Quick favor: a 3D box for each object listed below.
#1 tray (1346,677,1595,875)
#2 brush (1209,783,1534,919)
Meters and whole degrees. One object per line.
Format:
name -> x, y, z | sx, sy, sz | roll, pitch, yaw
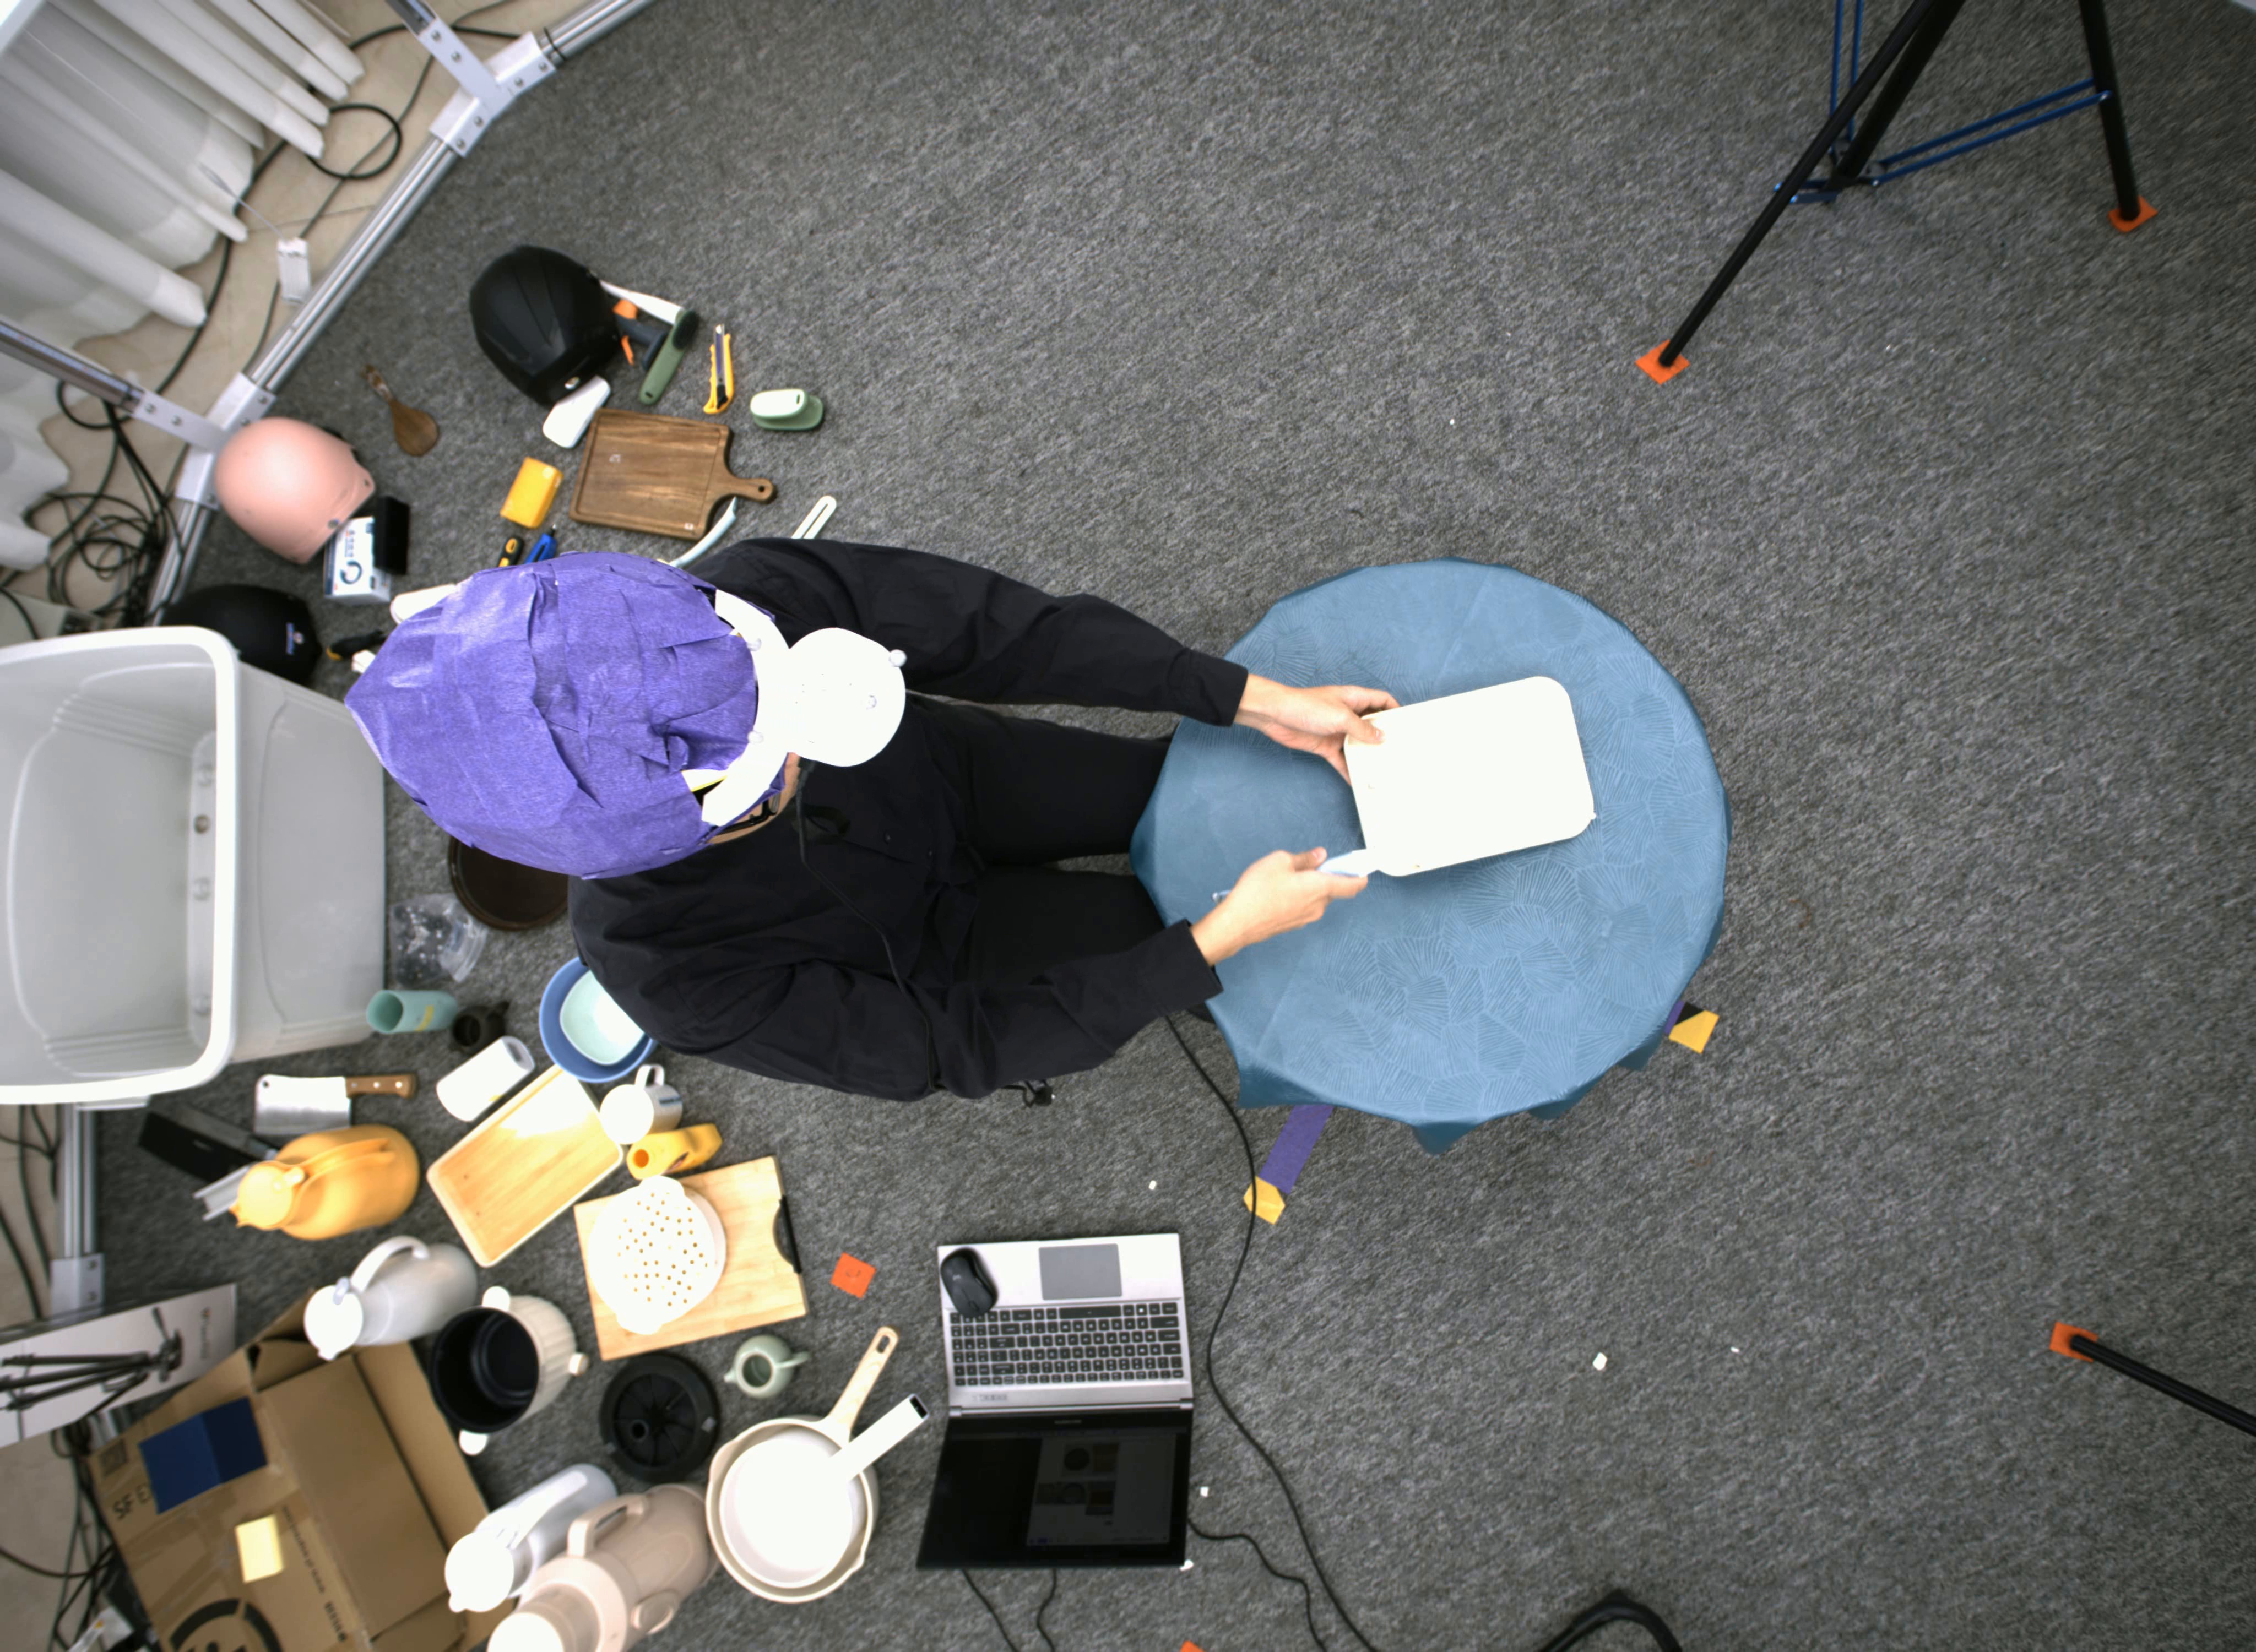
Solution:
tray -> 0.353, -0.054, 1.419 | 0.240, 0.017, 0.171 | -13, 90, 1
brush -> 0.231, 0.021, 1.337 | 0.326, 0.086, 0.081 | -17, 66, 3
